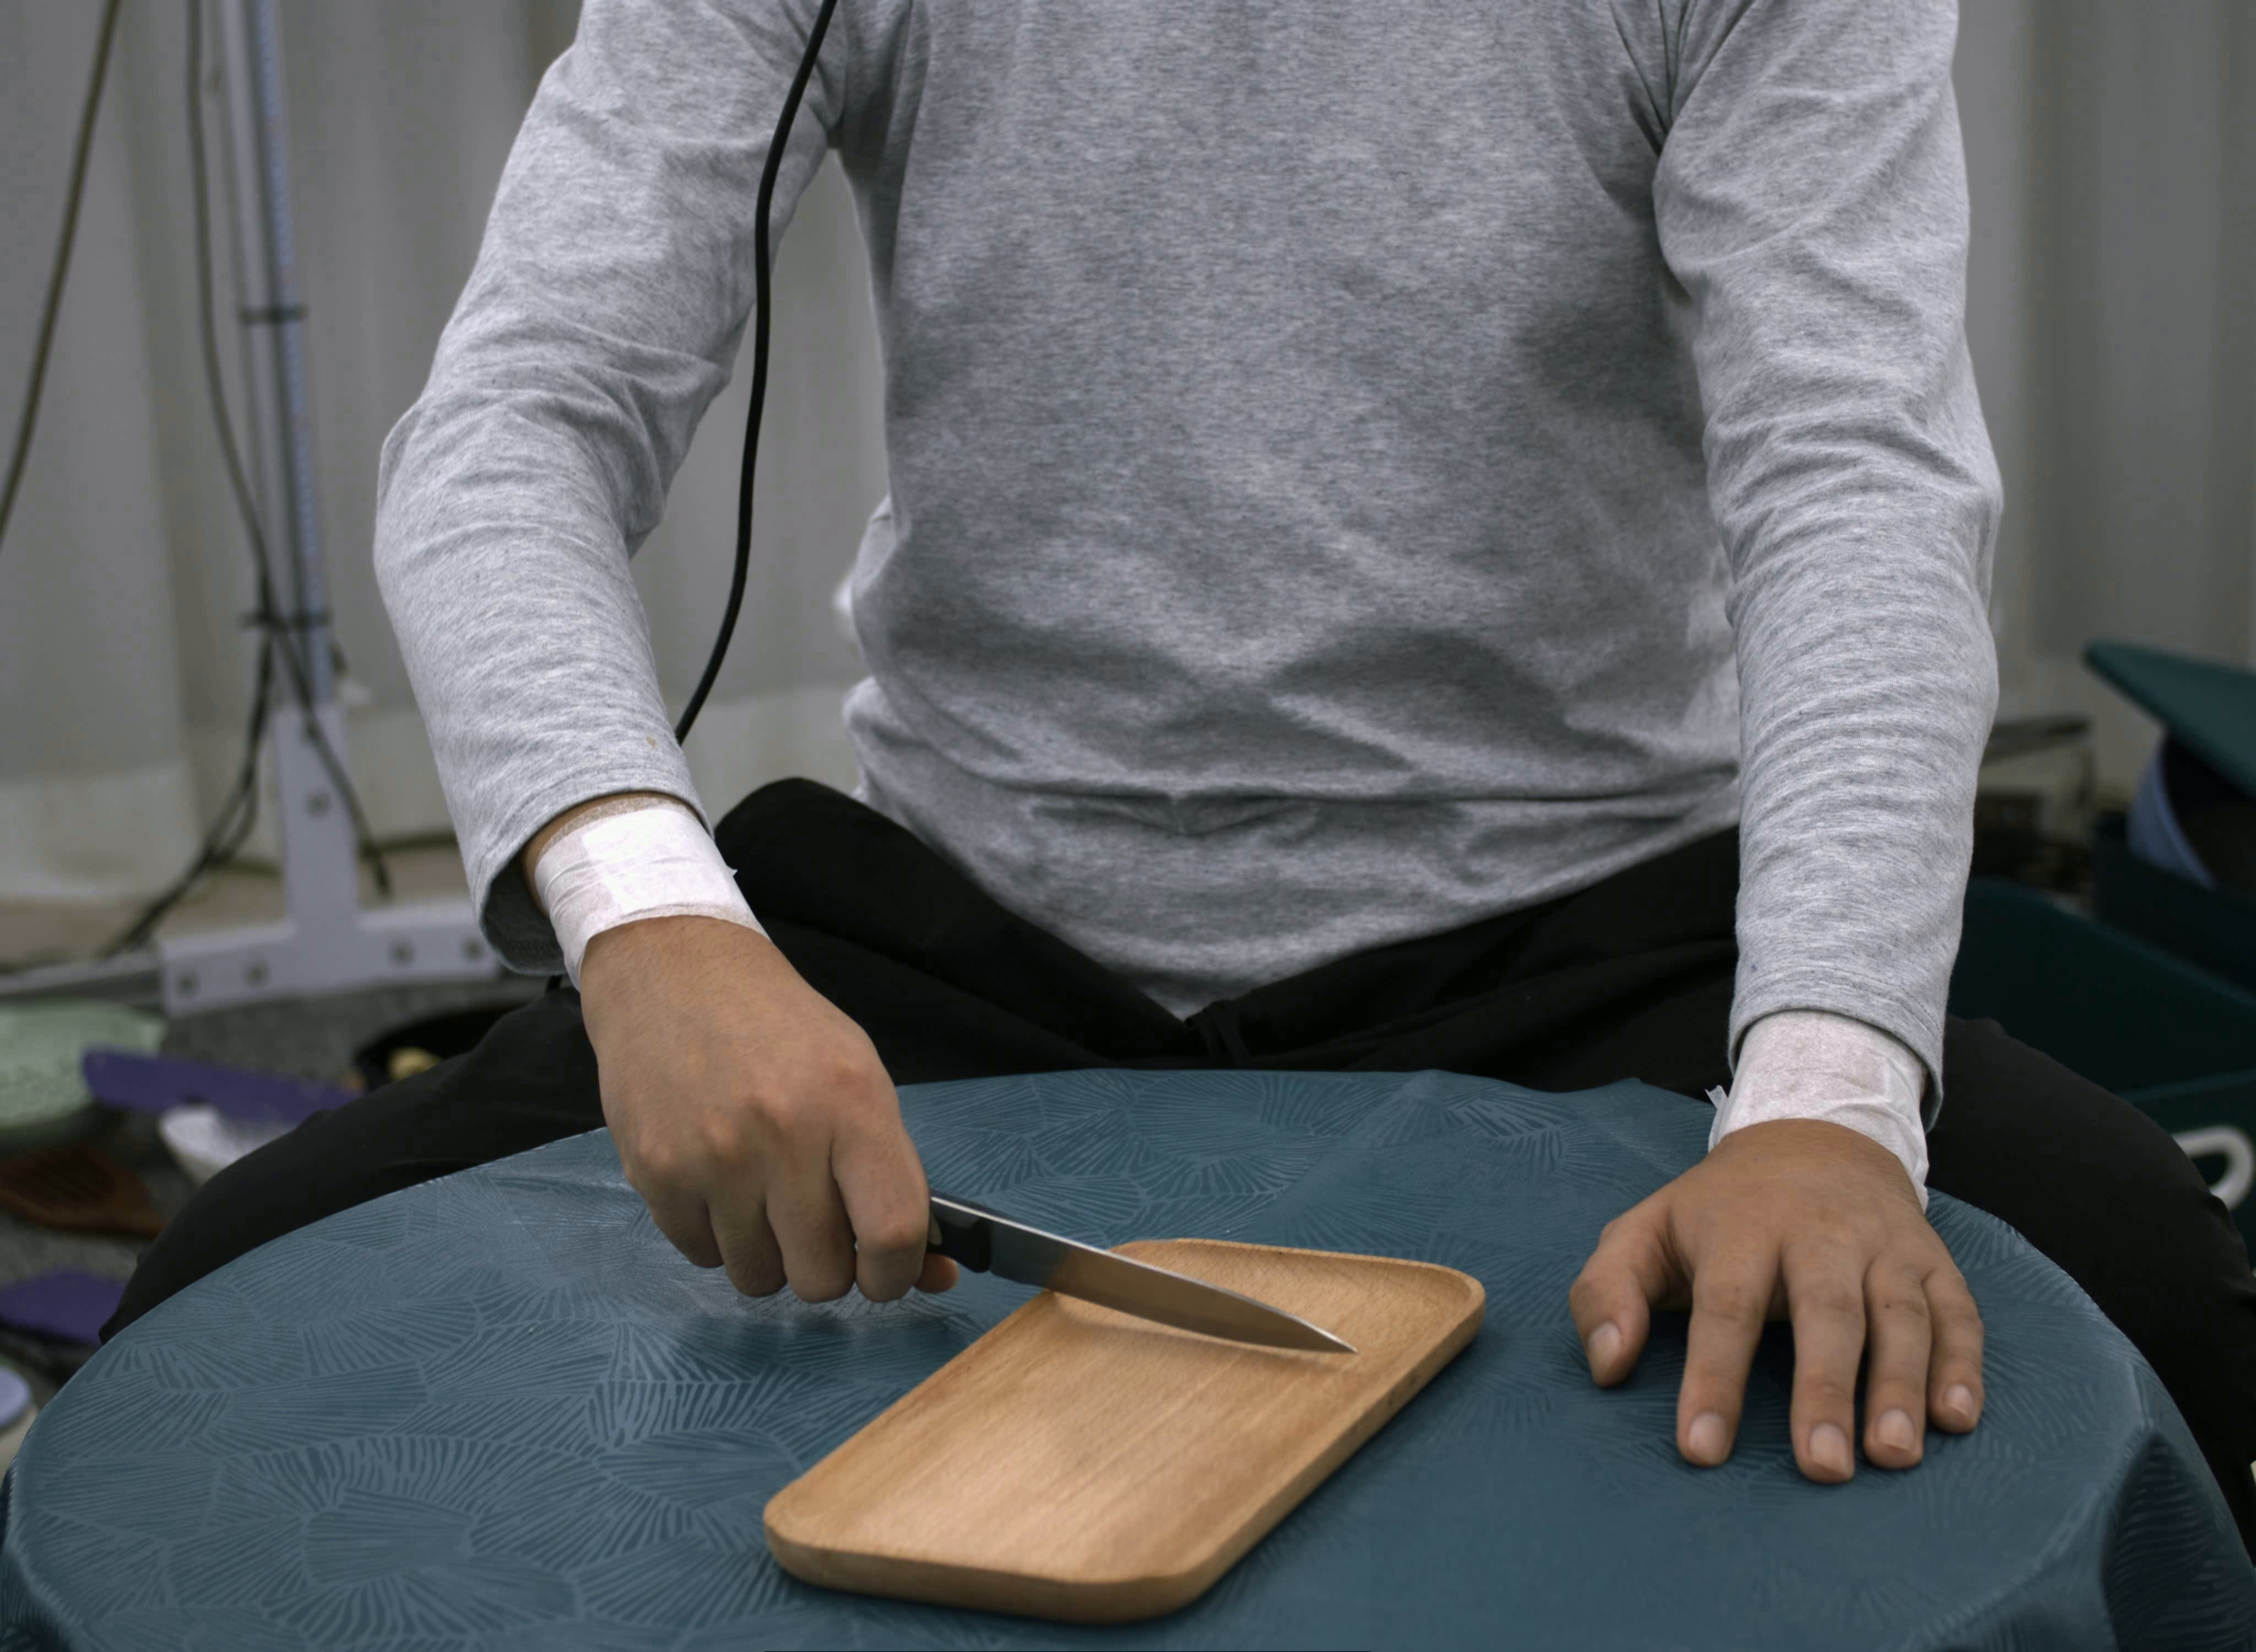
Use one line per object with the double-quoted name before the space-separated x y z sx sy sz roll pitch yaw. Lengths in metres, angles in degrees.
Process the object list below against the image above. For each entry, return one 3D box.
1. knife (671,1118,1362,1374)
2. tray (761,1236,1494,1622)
"knife" -0.035 0.122 1.587 0.239 0.024 0.016 16 37 29
"tray" 0.005 0.163 1.504 0.131 0.023 0.251 7 17 24
